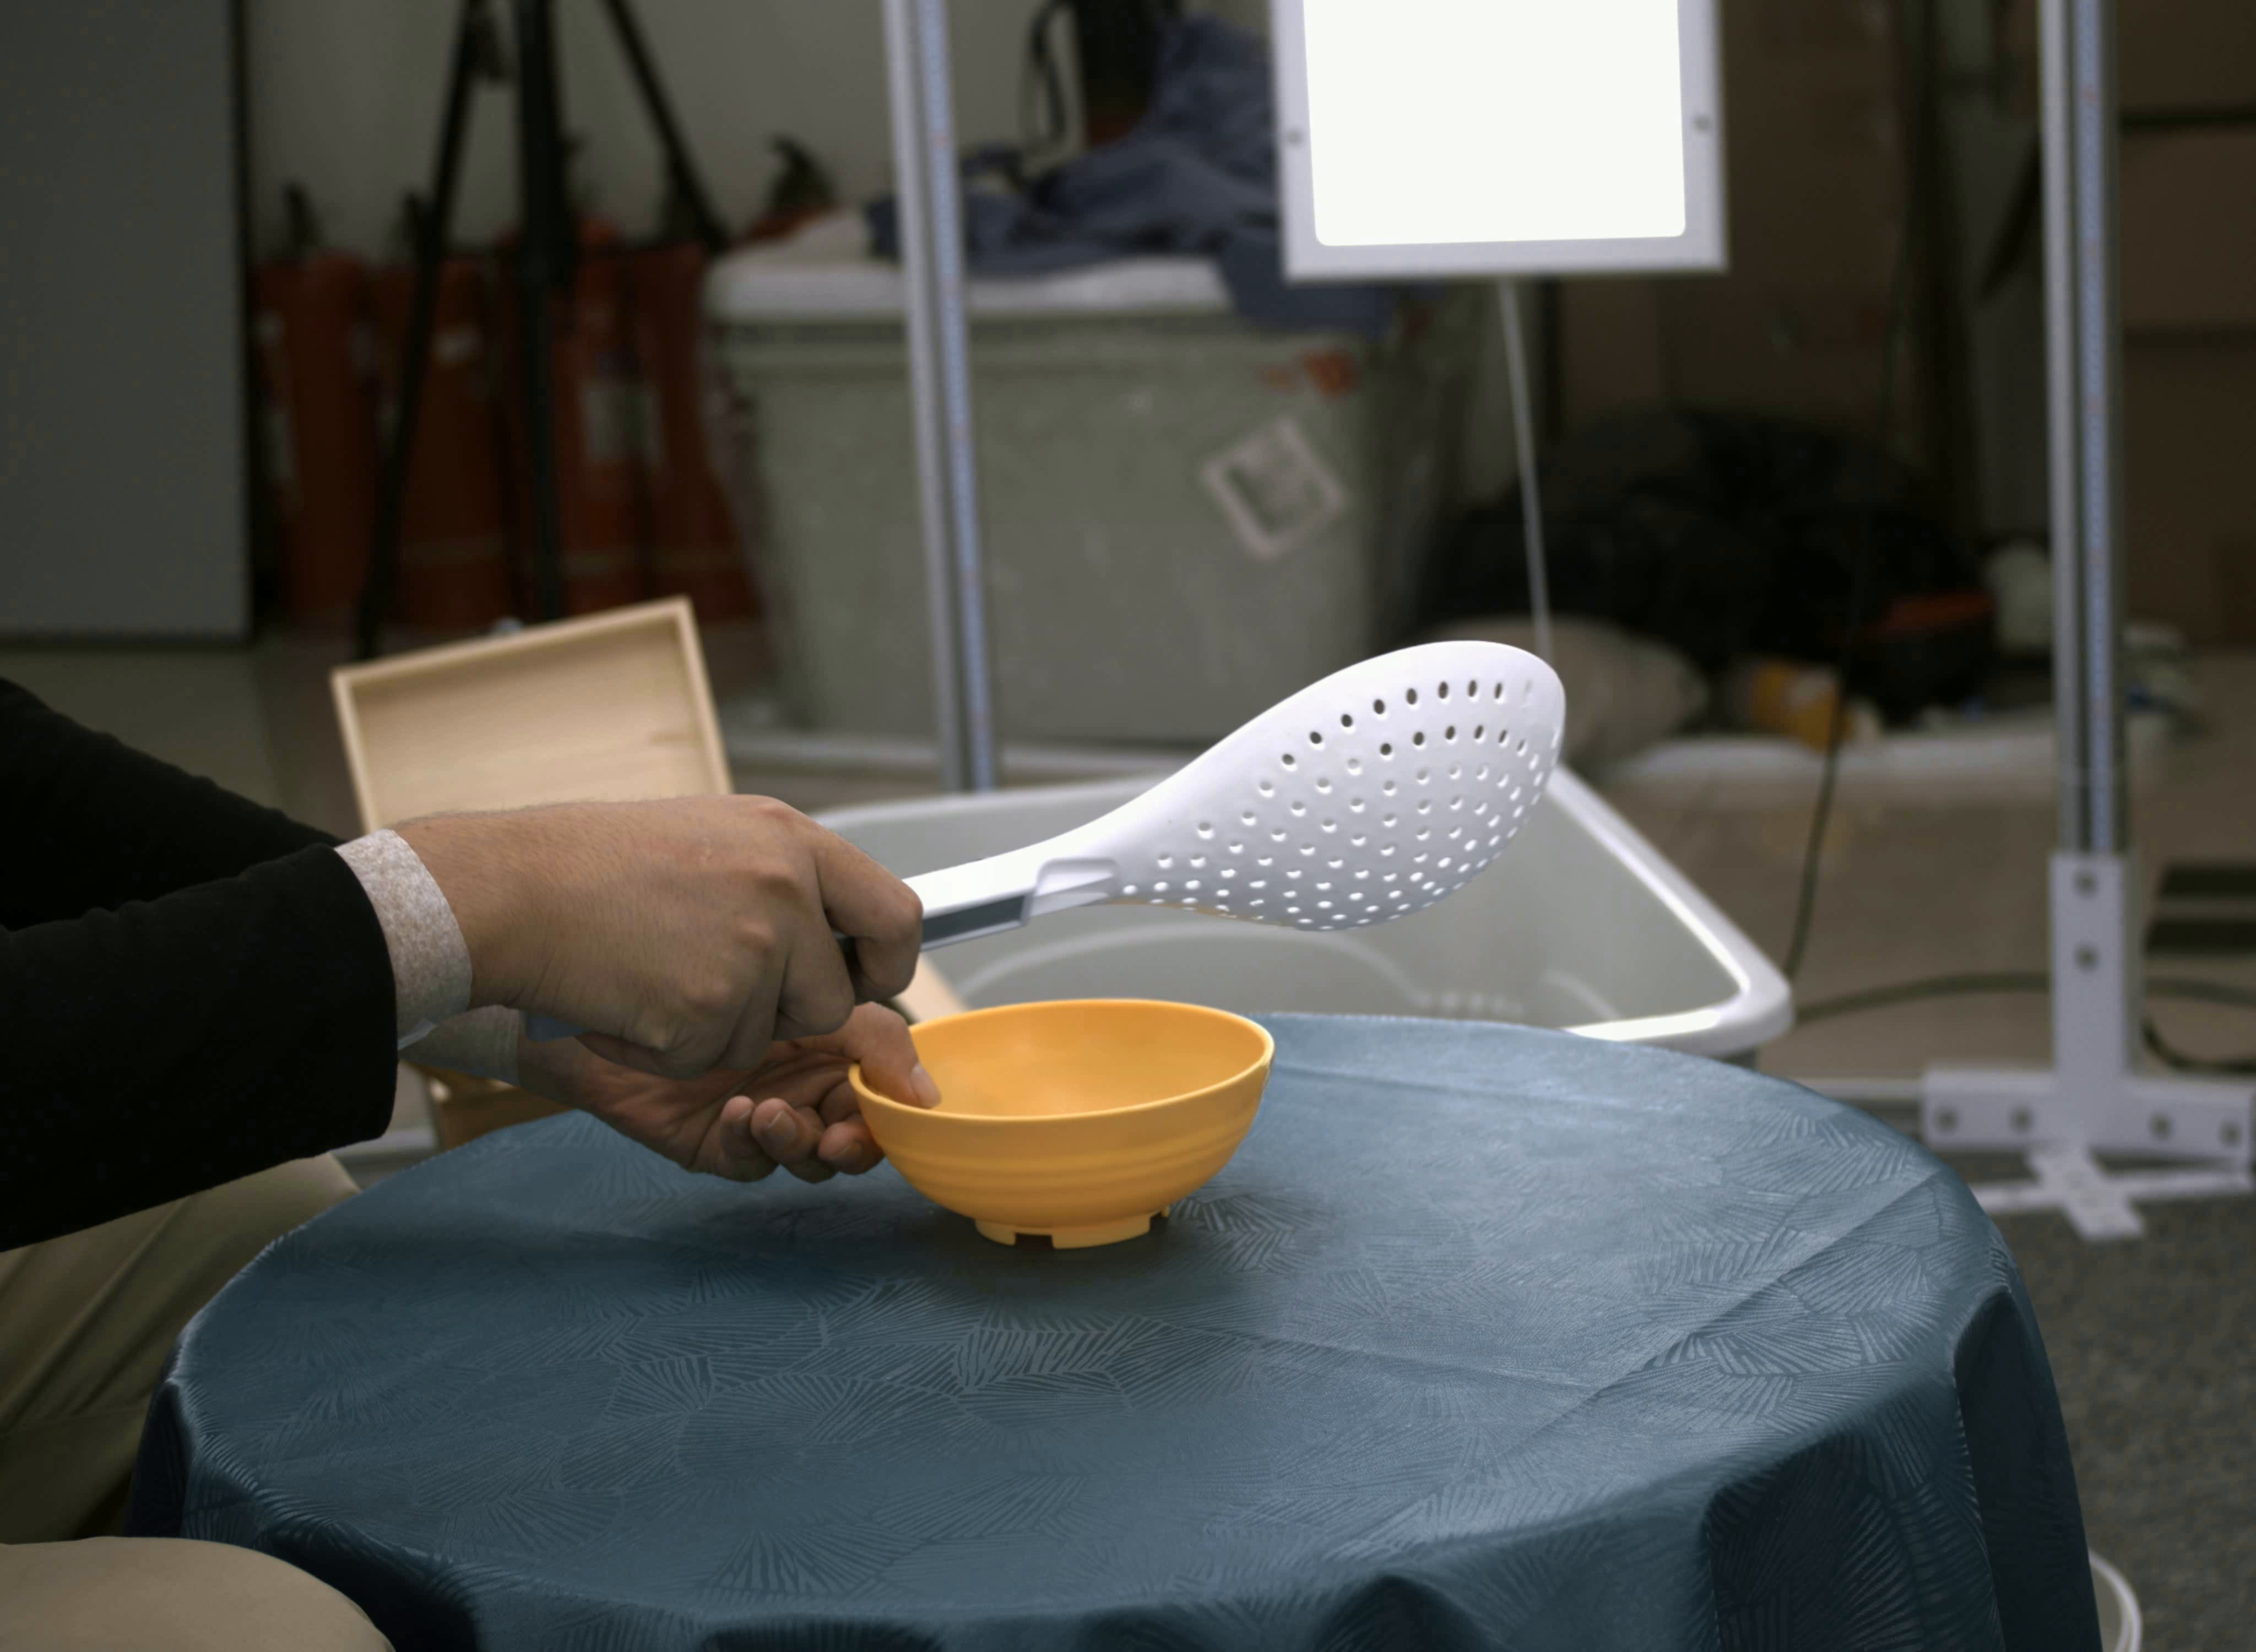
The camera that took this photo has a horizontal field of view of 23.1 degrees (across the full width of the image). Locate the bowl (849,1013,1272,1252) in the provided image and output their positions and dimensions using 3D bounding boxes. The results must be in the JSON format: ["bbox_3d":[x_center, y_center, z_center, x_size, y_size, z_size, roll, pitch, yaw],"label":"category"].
[{"bbox_3d":[-0.022,0.107,1.864,0.145,0.060,0.145,-3,11,-1],"label":"bowl"}]

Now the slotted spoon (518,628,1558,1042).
[{"bbox_3d":[-0.022,0.013,1.714,0.345,0.137,0.046,-10,55,-13],"label":"slotted spoon"}]
